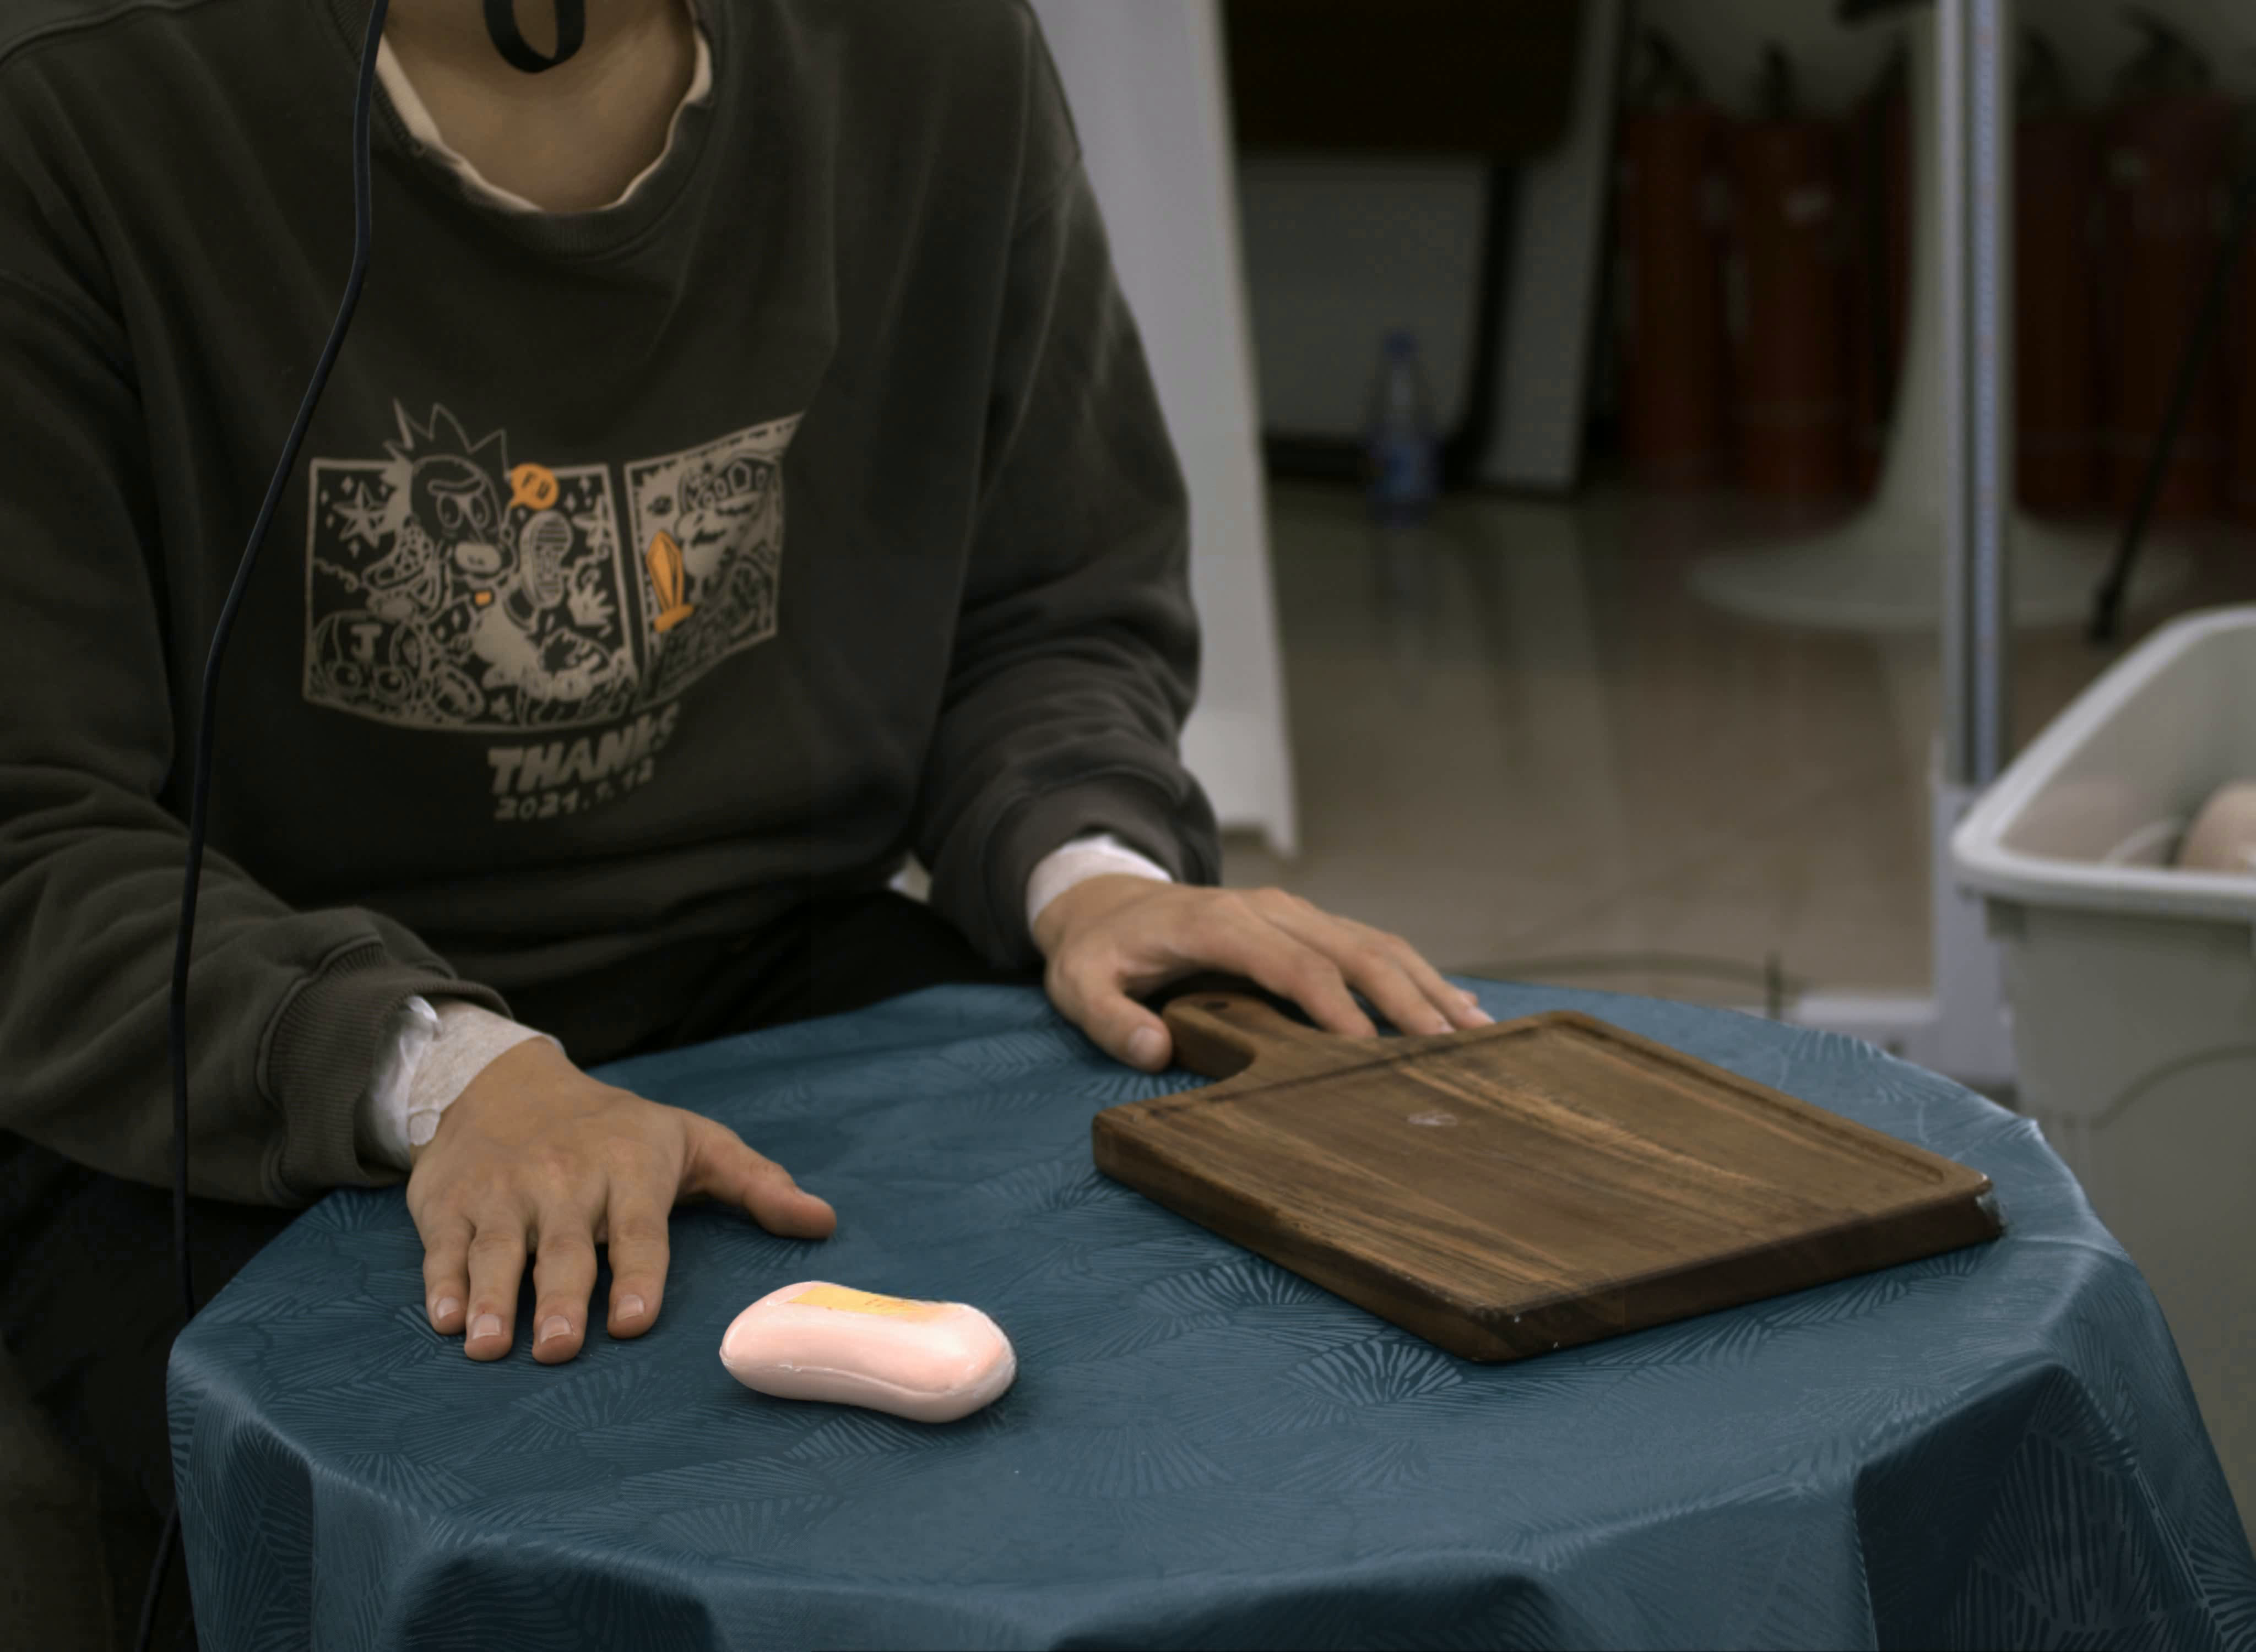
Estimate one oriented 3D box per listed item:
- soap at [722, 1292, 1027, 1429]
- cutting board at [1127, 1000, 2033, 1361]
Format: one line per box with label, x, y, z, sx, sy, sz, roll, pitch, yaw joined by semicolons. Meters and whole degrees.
soap;-0.075;0.157;1.592;0.095;0.031;0.049;3;14;35
cutting board;0.118;0.103;1.774;0.197;0.023;0.356;-11;15;-25
